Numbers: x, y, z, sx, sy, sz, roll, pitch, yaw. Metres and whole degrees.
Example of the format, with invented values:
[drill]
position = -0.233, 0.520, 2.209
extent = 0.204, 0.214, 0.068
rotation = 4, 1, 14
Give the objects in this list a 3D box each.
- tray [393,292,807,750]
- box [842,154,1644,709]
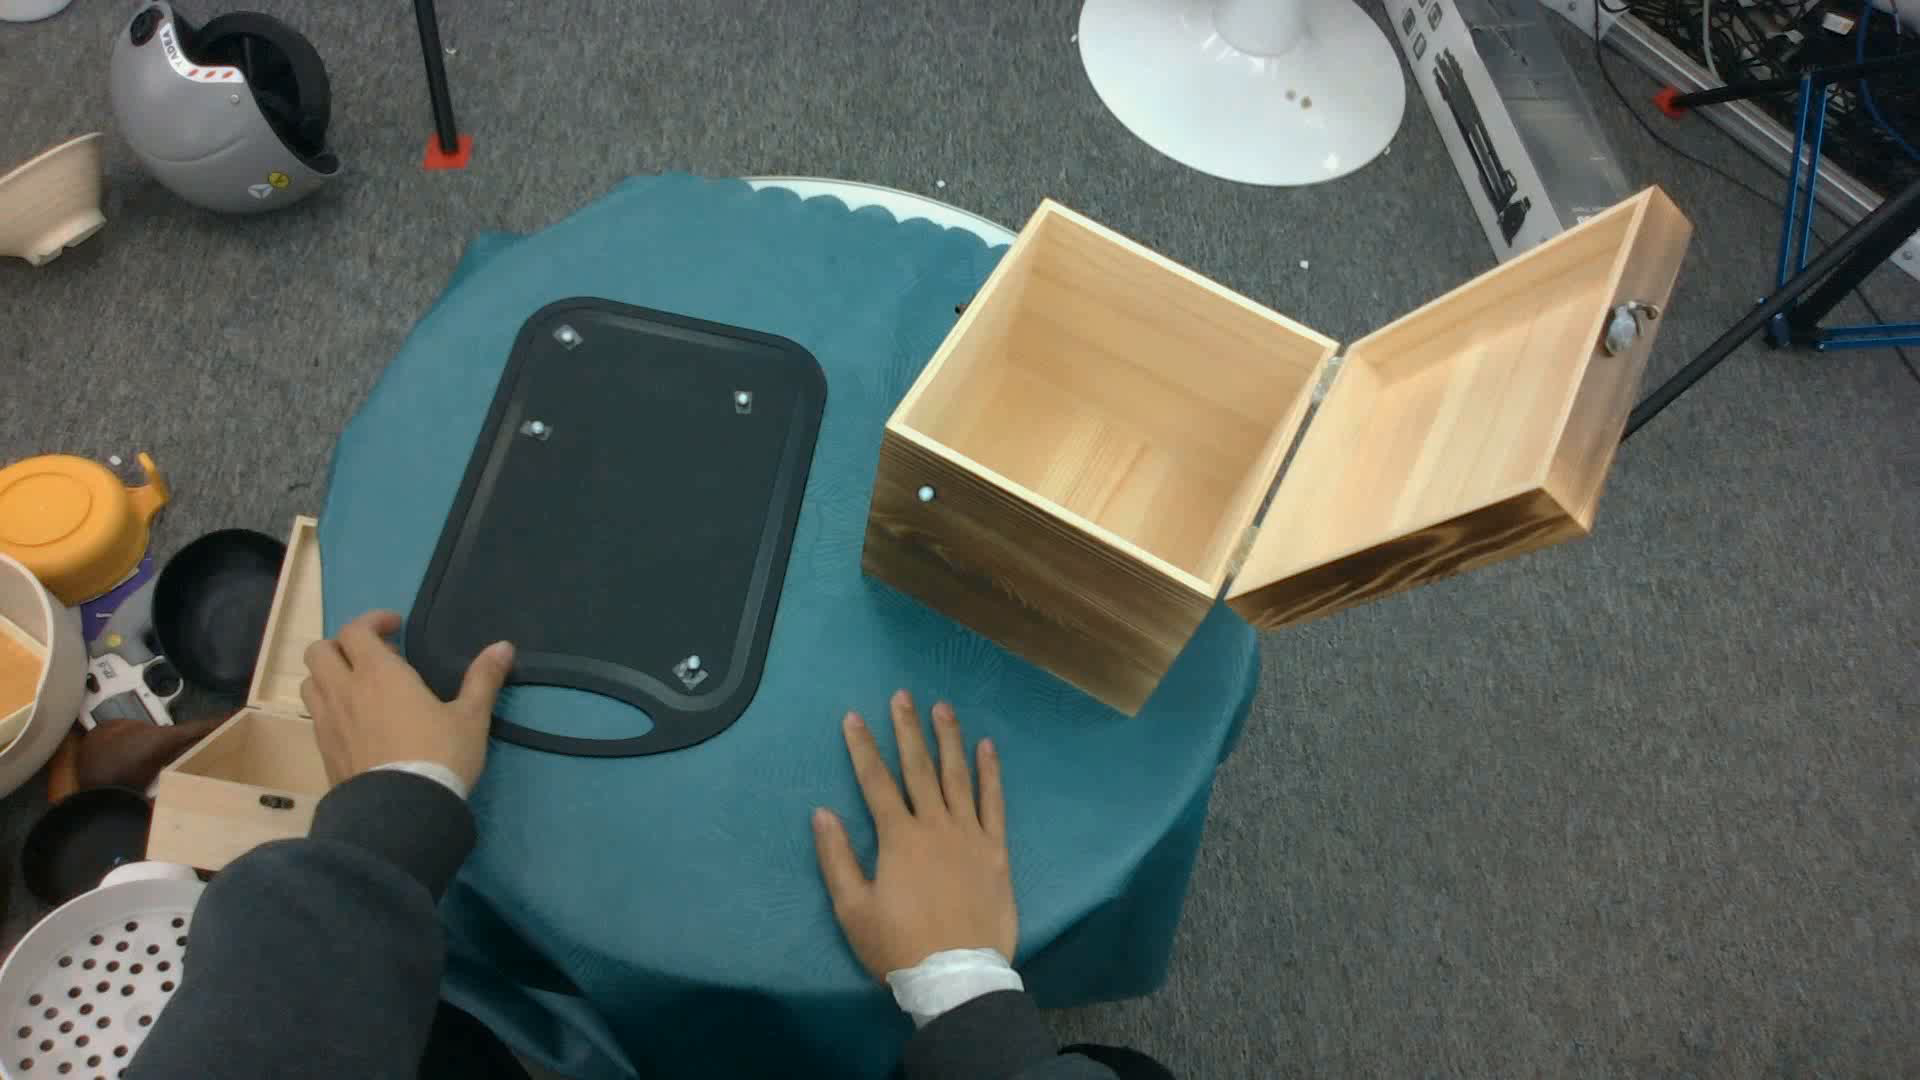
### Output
[tray]
position = -0.220, -0.022, 0.874
extent = 0.211, 0.010, 0.327
rotation = 10, 59, -5
[box]
position = 0.131, -0.079, 0.769
extent = 0.322, 0.373, 0.210
rotation = 28, 59, 4
